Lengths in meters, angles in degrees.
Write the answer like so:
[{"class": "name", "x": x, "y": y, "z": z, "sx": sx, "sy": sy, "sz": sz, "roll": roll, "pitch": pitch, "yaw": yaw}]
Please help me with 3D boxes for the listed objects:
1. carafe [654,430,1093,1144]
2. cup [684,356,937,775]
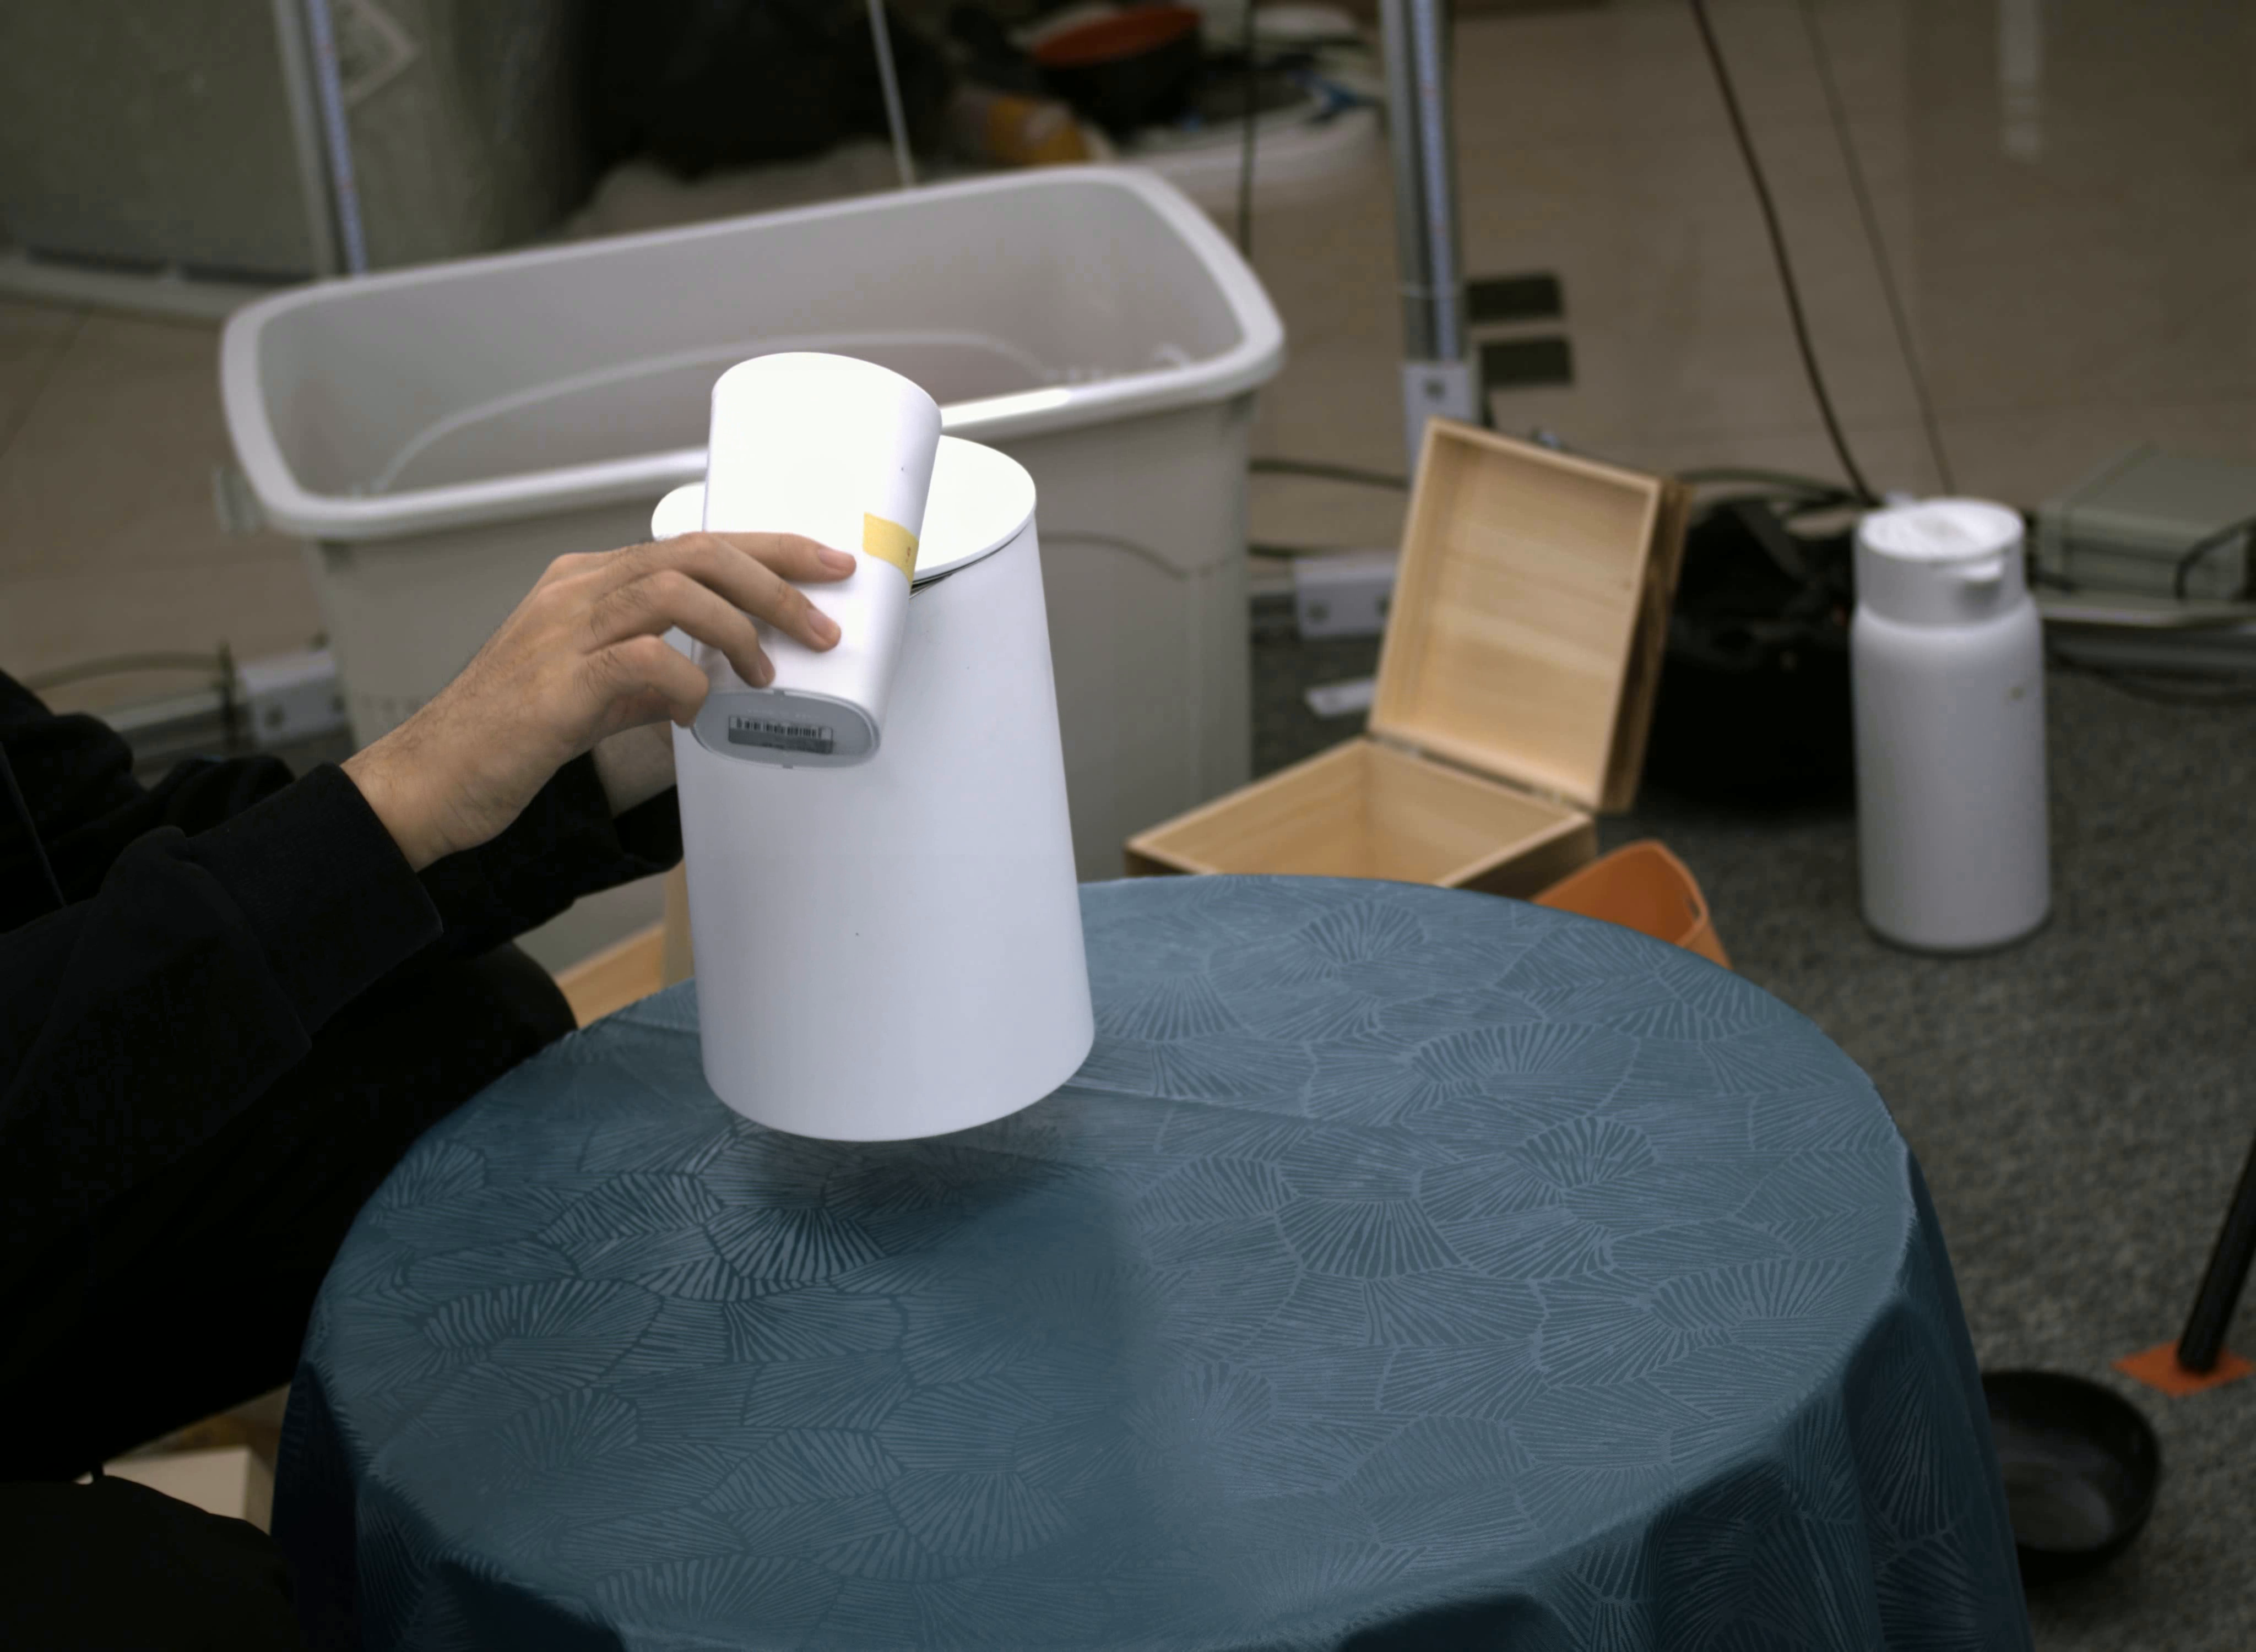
[{"class": "carafe", "x": -0.098, "y": -0.029, "z": 2.157, "sx": 0.152, "sy": 0.244, "sz": 0.210, "roll": -5, "pitch": 28, "yaw": -3}, {"class": "cup", "x": -0.112, "y": -0.087, "z": 1.940, "sx": 0.081, "sy": 0.083, "sz": 0.124, "roll": 0, "pitch": 67, "yaw": 13}]
